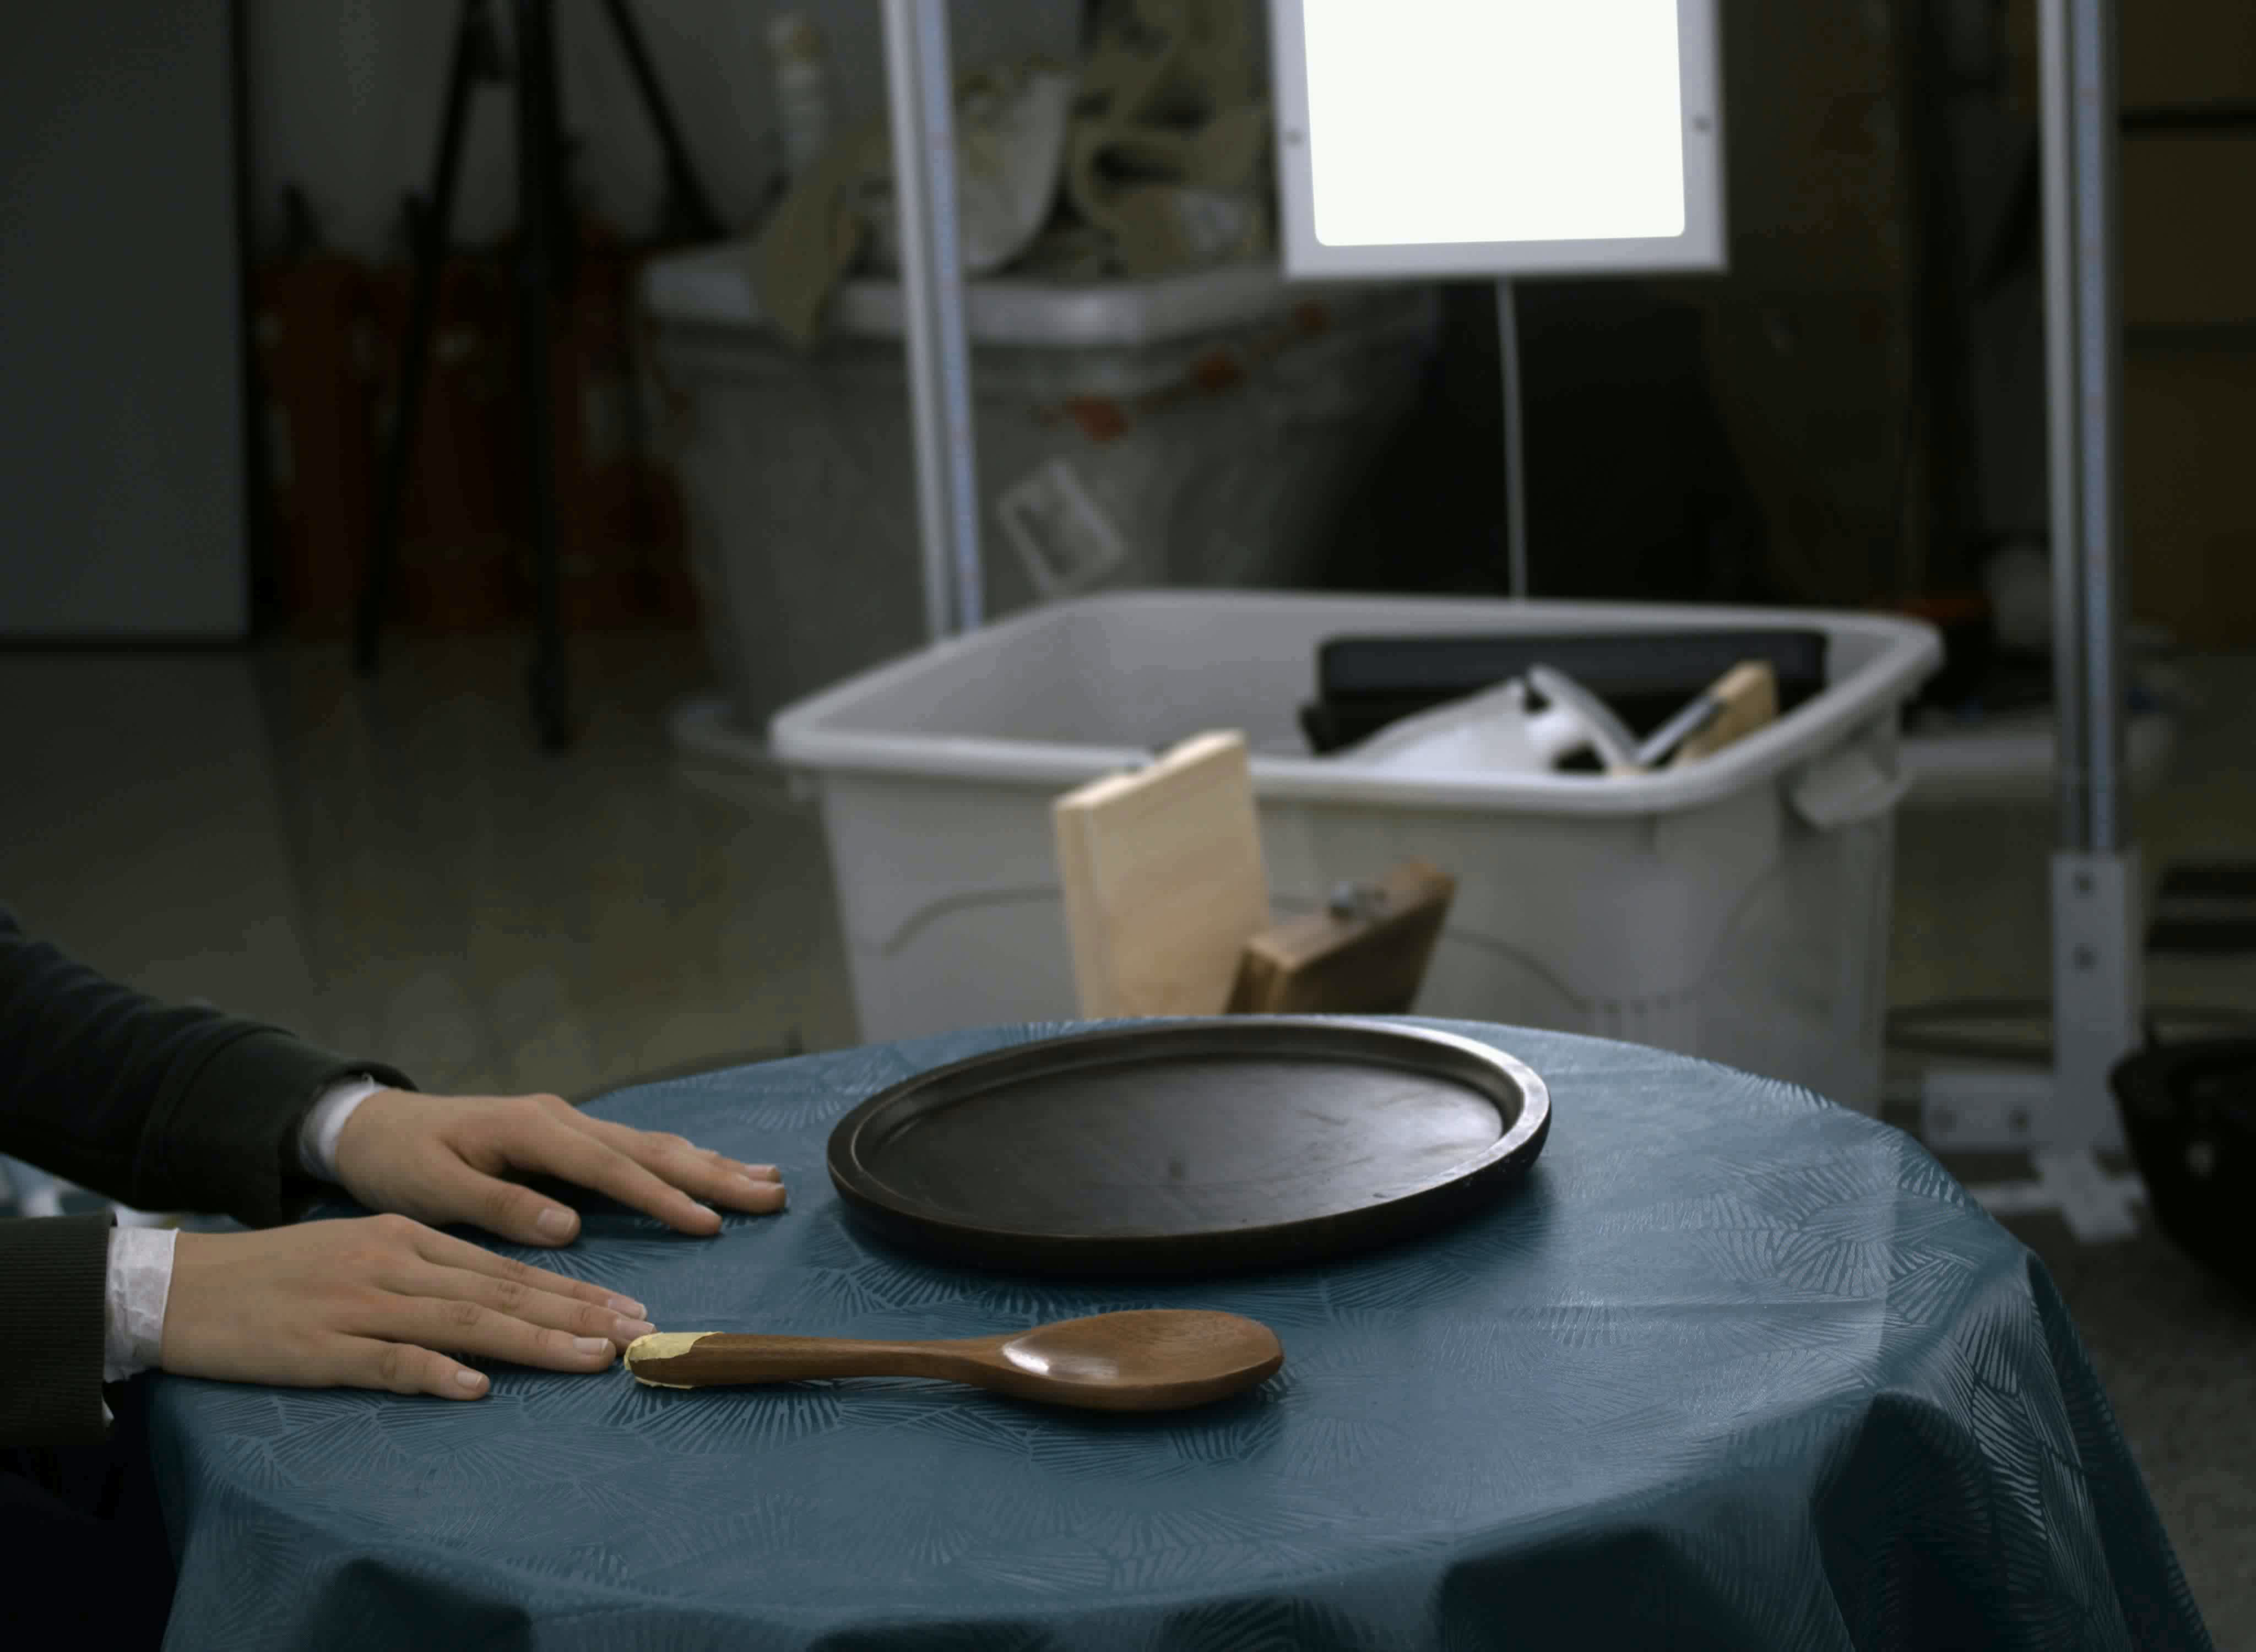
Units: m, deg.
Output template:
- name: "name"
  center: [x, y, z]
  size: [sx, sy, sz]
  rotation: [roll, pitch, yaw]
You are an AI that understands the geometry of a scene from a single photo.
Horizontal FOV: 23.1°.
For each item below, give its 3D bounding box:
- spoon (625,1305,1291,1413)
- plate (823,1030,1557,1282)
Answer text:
- name: "spoon"
  center: [-0.054, 0.167, 1.717]
  size: [0.218, 0.017, 0.074]
  rotation: [0, 15, 18]
- name: "plate"
  center: [0.022, 0.111, 1.905]
  size: [0.254, 0.029, 0.254]
  rotation: [-4, 14, 0]
